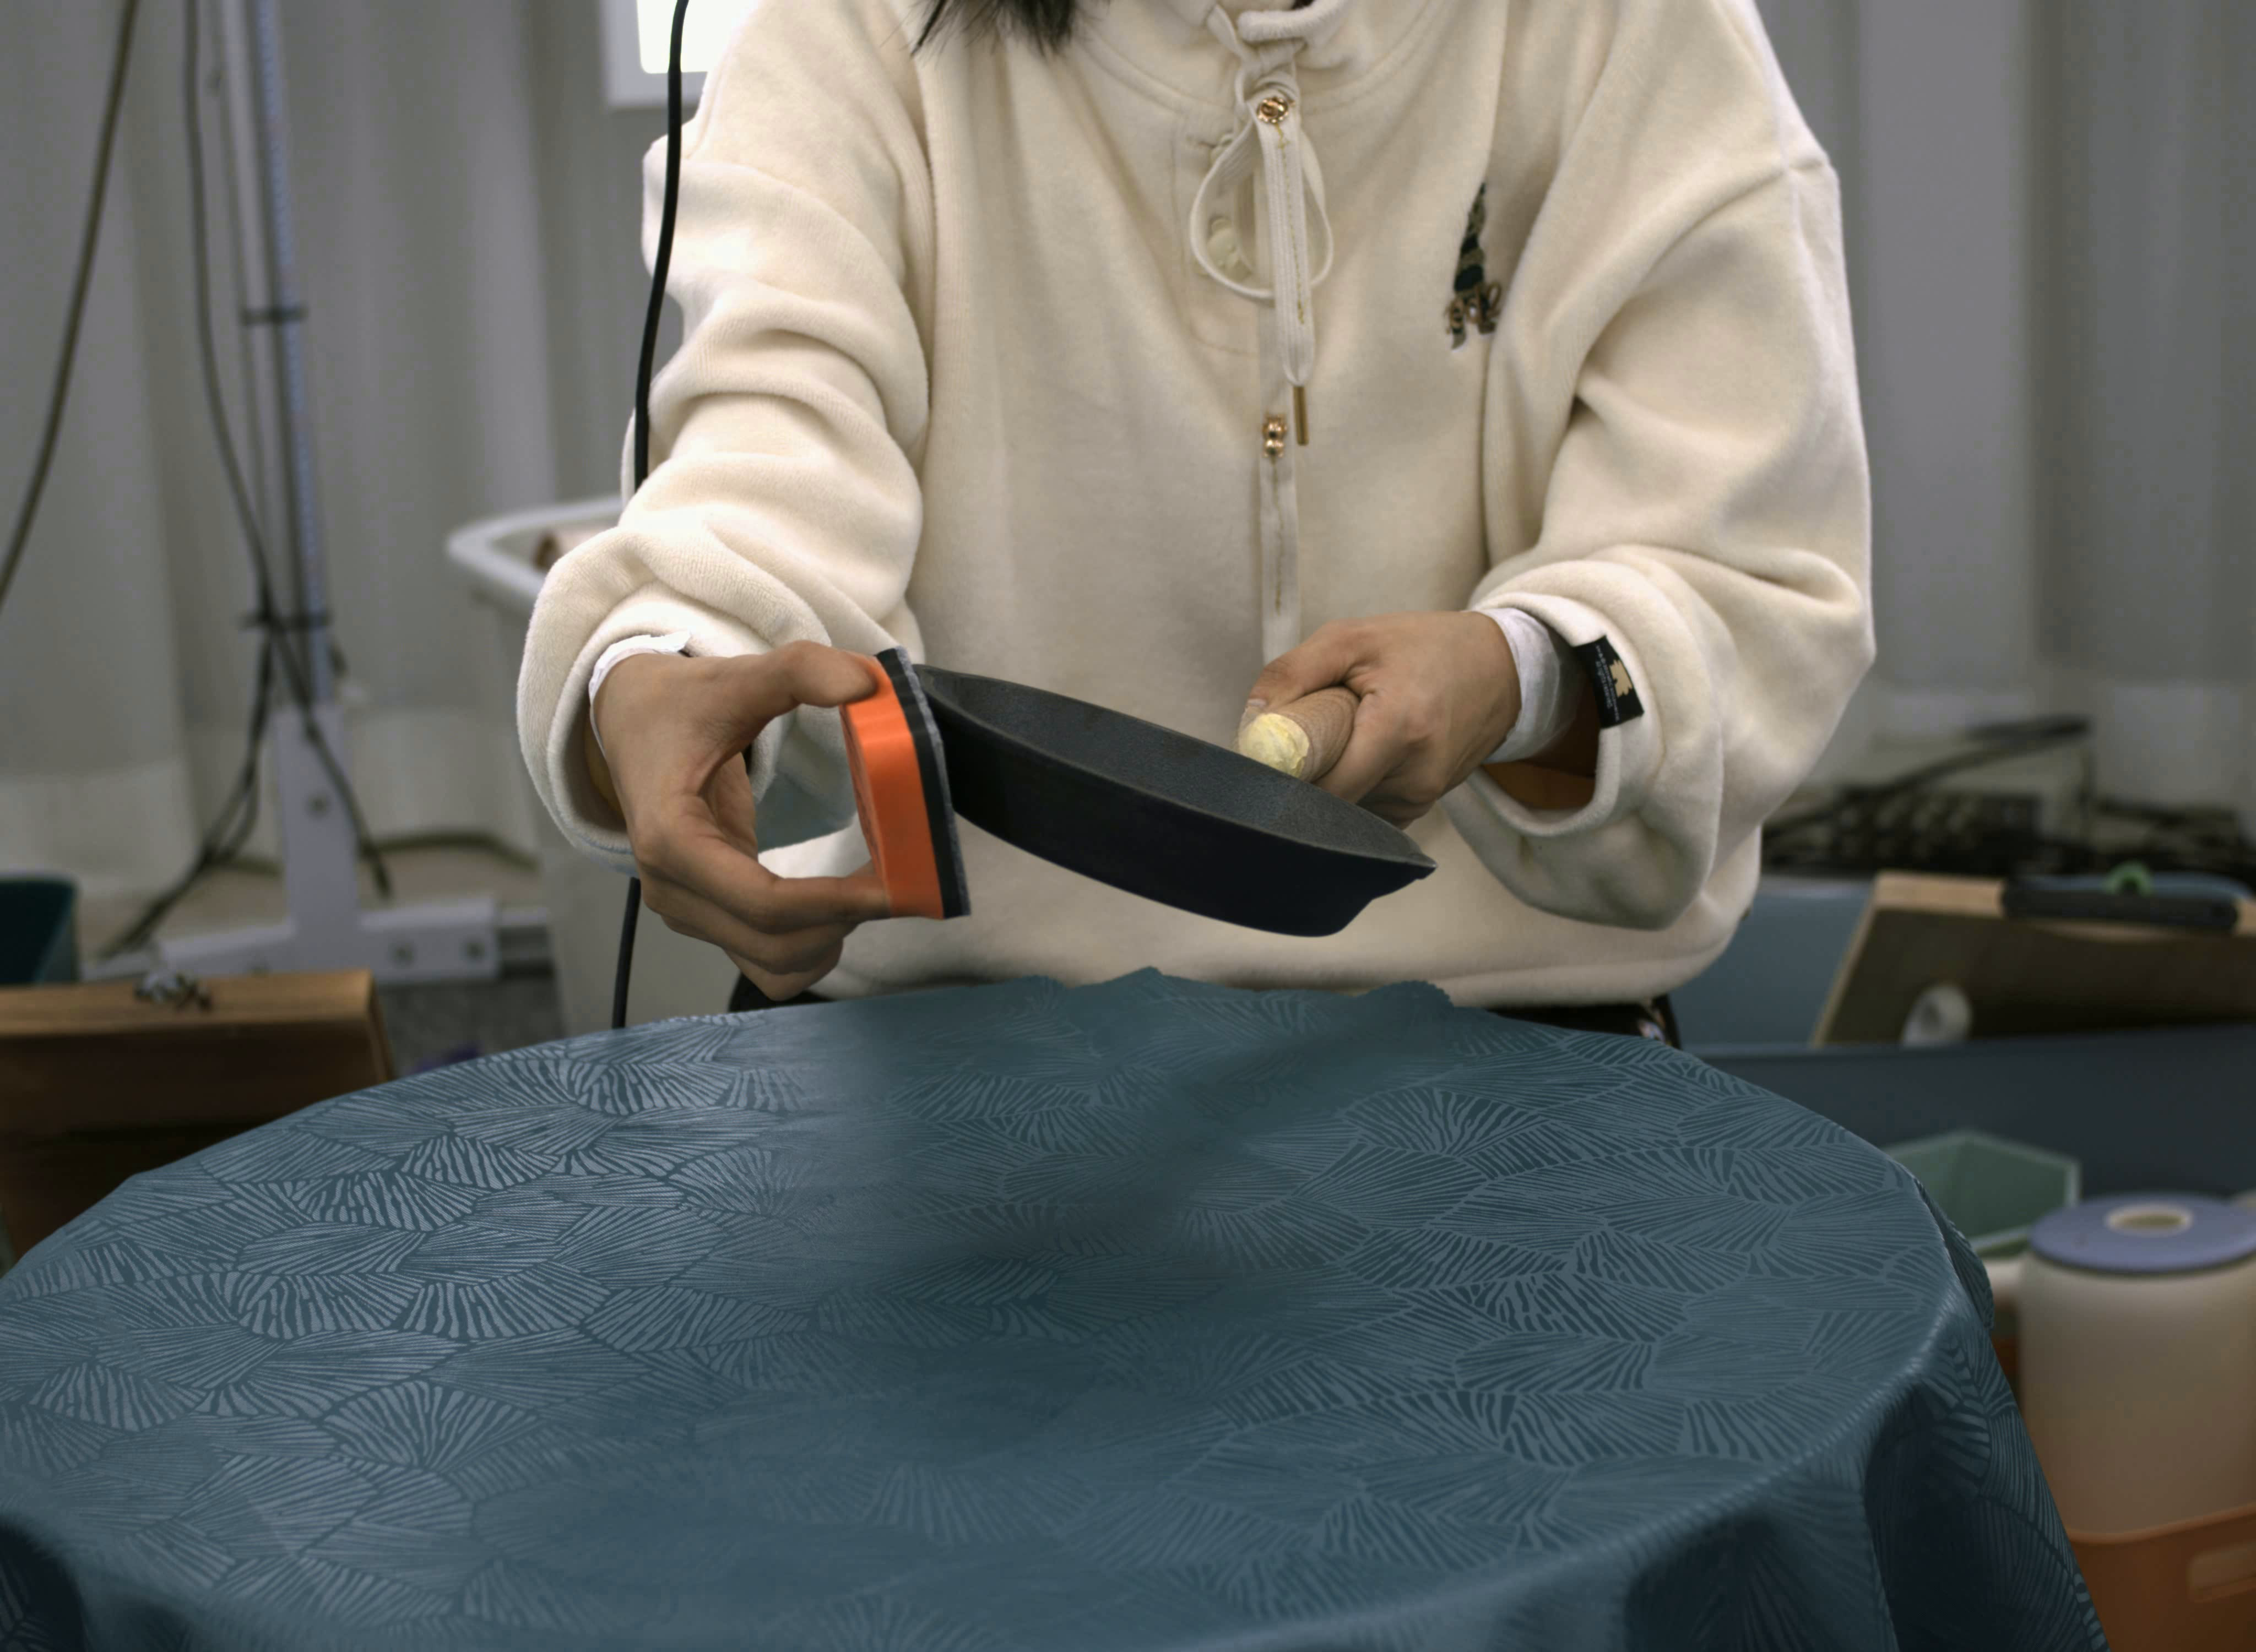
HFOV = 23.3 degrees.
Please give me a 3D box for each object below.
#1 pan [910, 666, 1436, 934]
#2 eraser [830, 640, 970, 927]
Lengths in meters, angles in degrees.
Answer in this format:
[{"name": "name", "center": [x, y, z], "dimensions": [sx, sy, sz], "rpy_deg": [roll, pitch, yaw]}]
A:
[{"name": "pan", "center": [0.034, -0.016, 1.698], "dimensions": [0.169, 0.049, 0.323], "rpy_deg": [21, 9, 15]}, {"name": "eraser", "center": [-0.067, -0.013, 1.606], "dimensions": [0.023, 0.058, 0.109], "rpy_deg": [-12, 19, -5]}]
